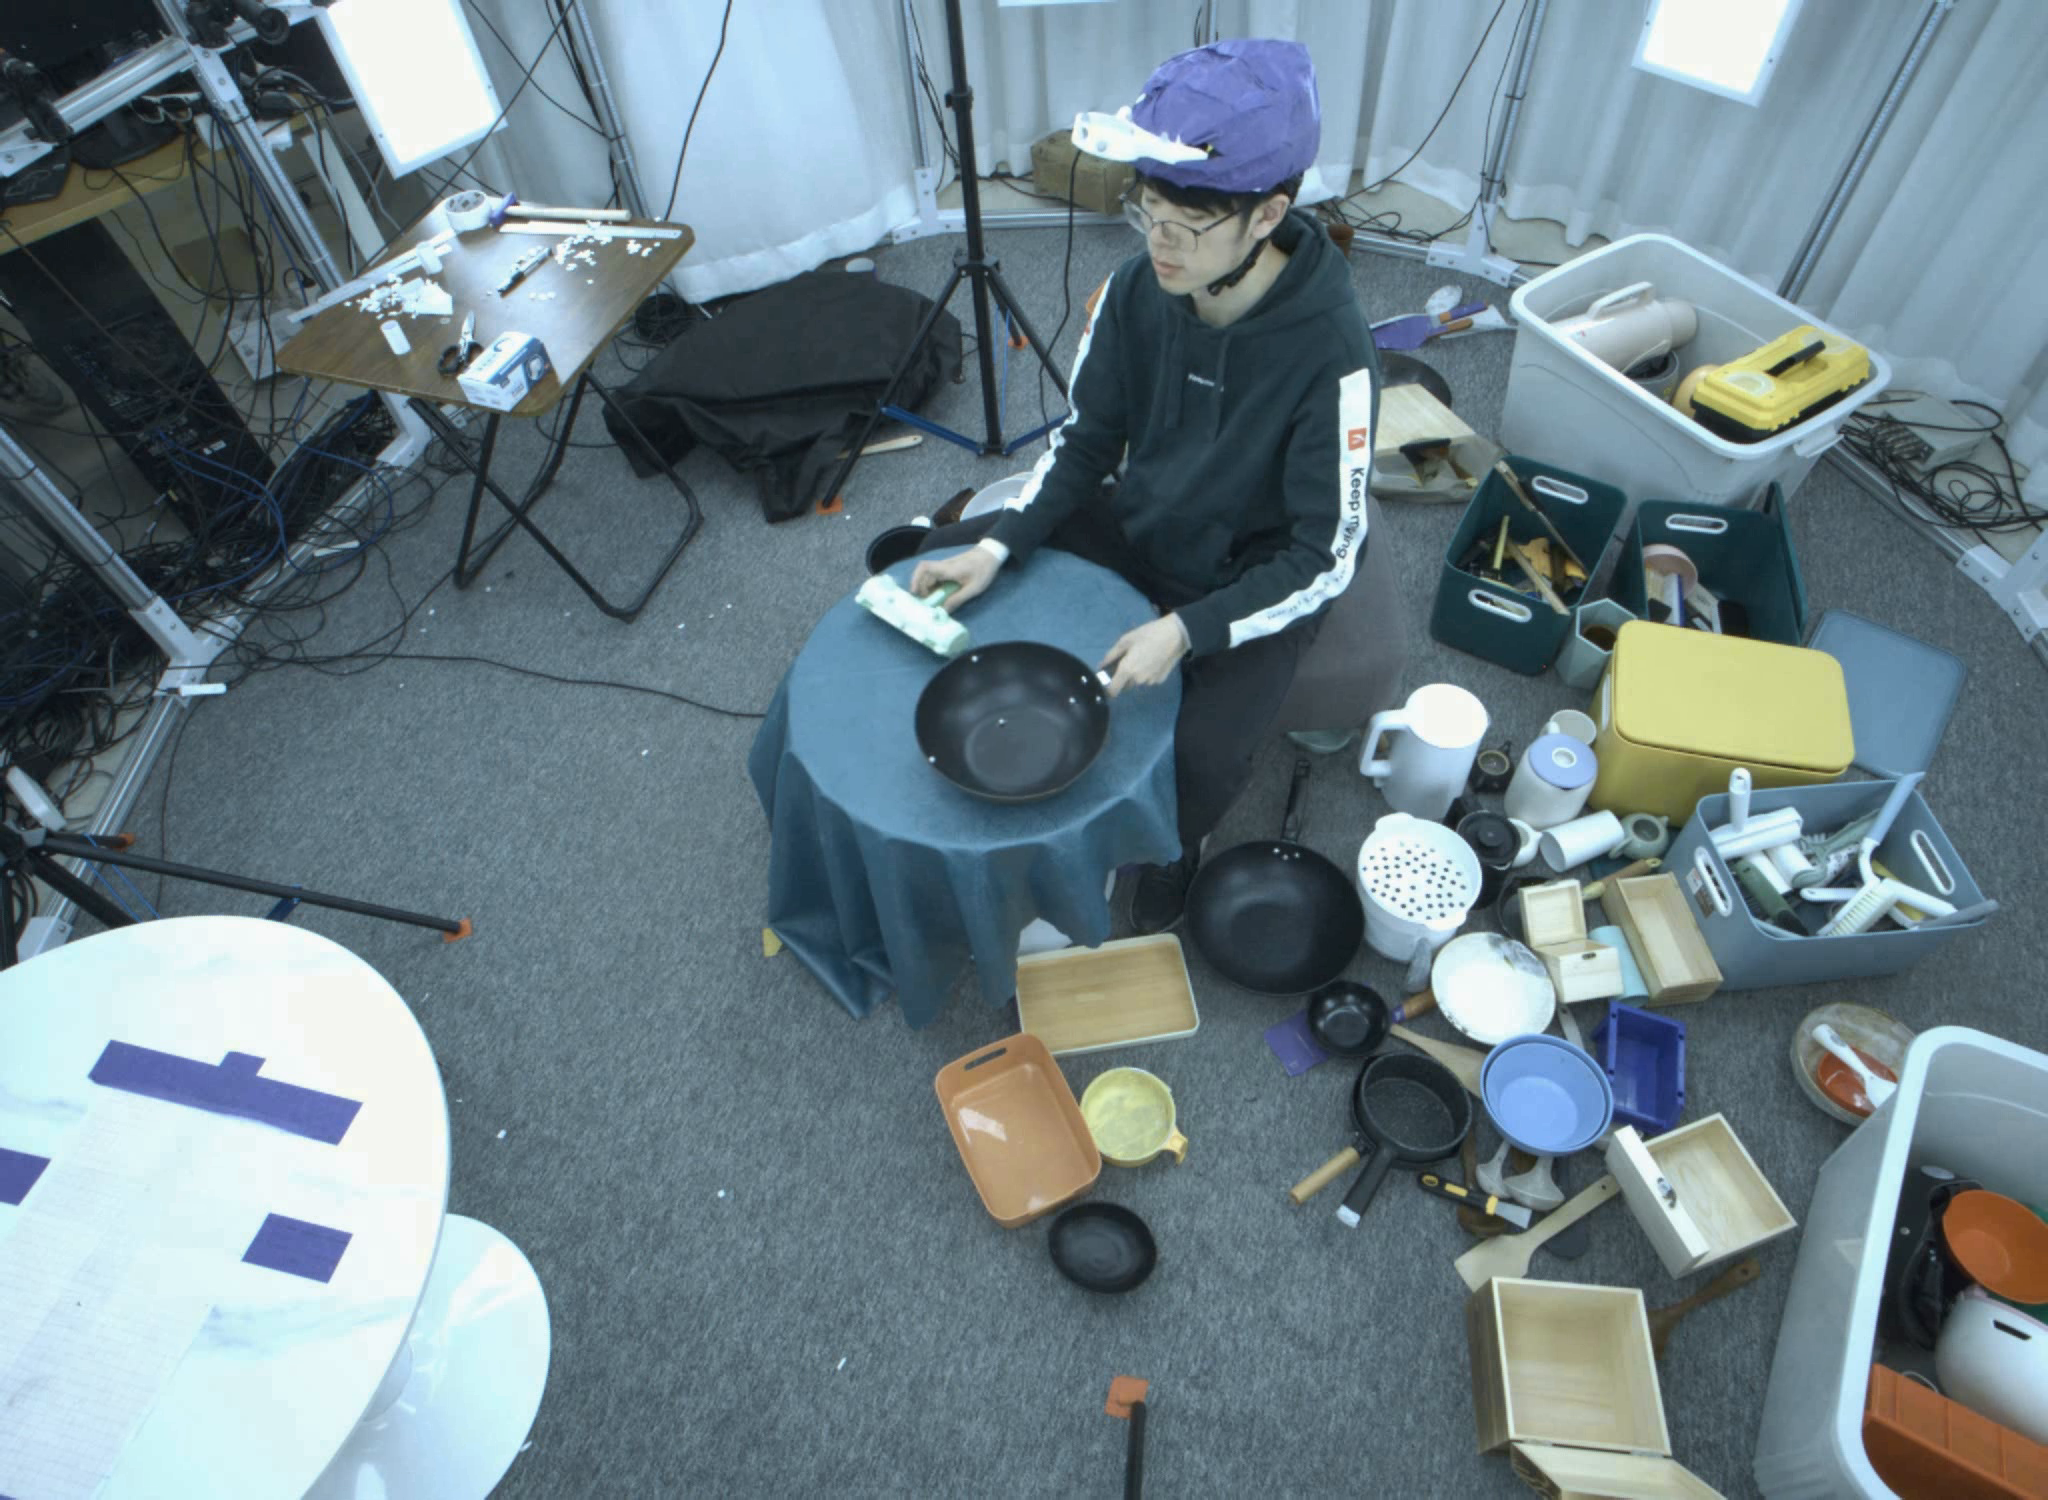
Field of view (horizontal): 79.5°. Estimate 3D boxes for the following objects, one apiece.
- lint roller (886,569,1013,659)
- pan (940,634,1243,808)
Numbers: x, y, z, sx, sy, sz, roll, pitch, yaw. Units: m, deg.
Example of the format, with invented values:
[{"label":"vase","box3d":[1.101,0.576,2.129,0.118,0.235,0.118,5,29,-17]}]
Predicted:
[{"label":"lint roller","box3d":[-0.088,-0.245,1.908,0.195,0.083,0.184,36,66,26]},{"label":"pan","box3d":[0.105,-0.058,1.769,0.467,0.088,0.283,-24,58,-15]}]
